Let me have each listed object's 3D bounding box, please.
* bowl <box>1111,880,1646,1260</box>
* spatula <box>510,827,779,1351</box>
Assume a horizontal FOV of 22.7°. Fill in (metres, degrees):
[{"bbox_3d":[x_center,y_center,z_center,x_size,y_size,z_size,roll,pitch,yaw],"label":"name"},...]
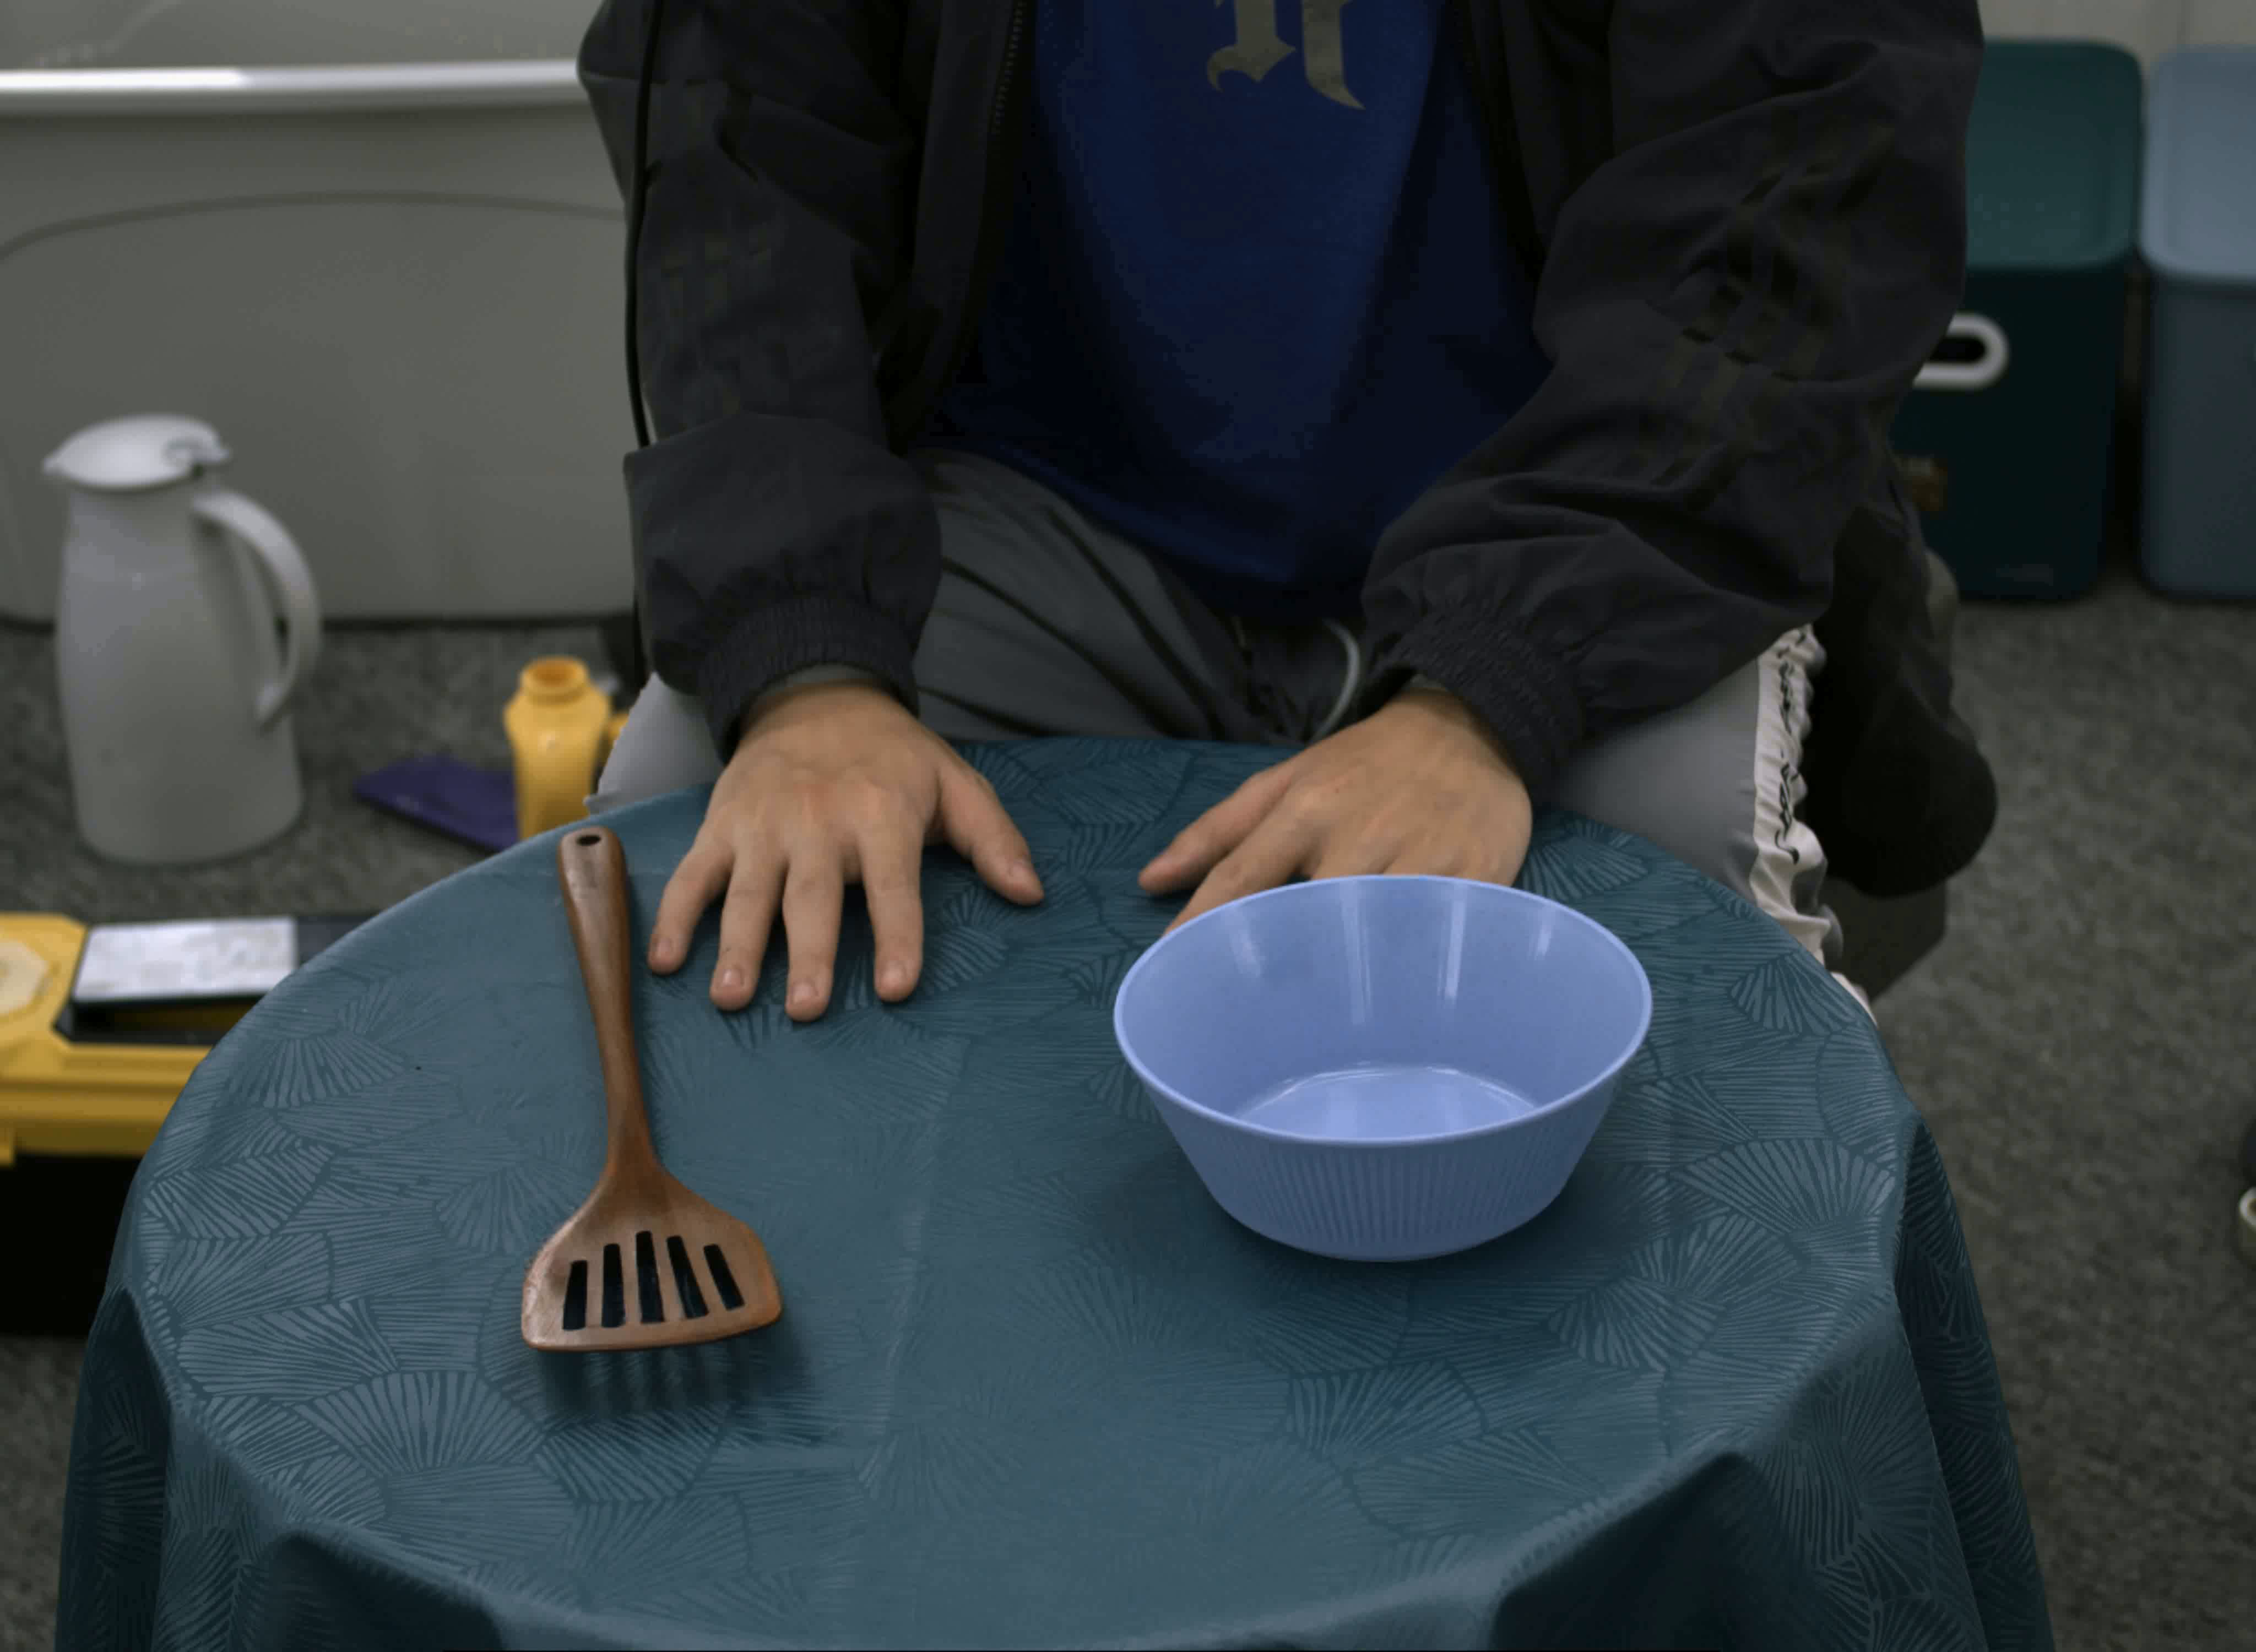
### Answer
[{"bbox_3d":[0.083,0.086,1.846,0.175,0.069,0.178,-2,26,1],"label":"bowl"},{"bbox_3d":[-0.173,0.088,1.922,0.085,0.024,0.391,-5,26,-6],"label":"spatula"}]
